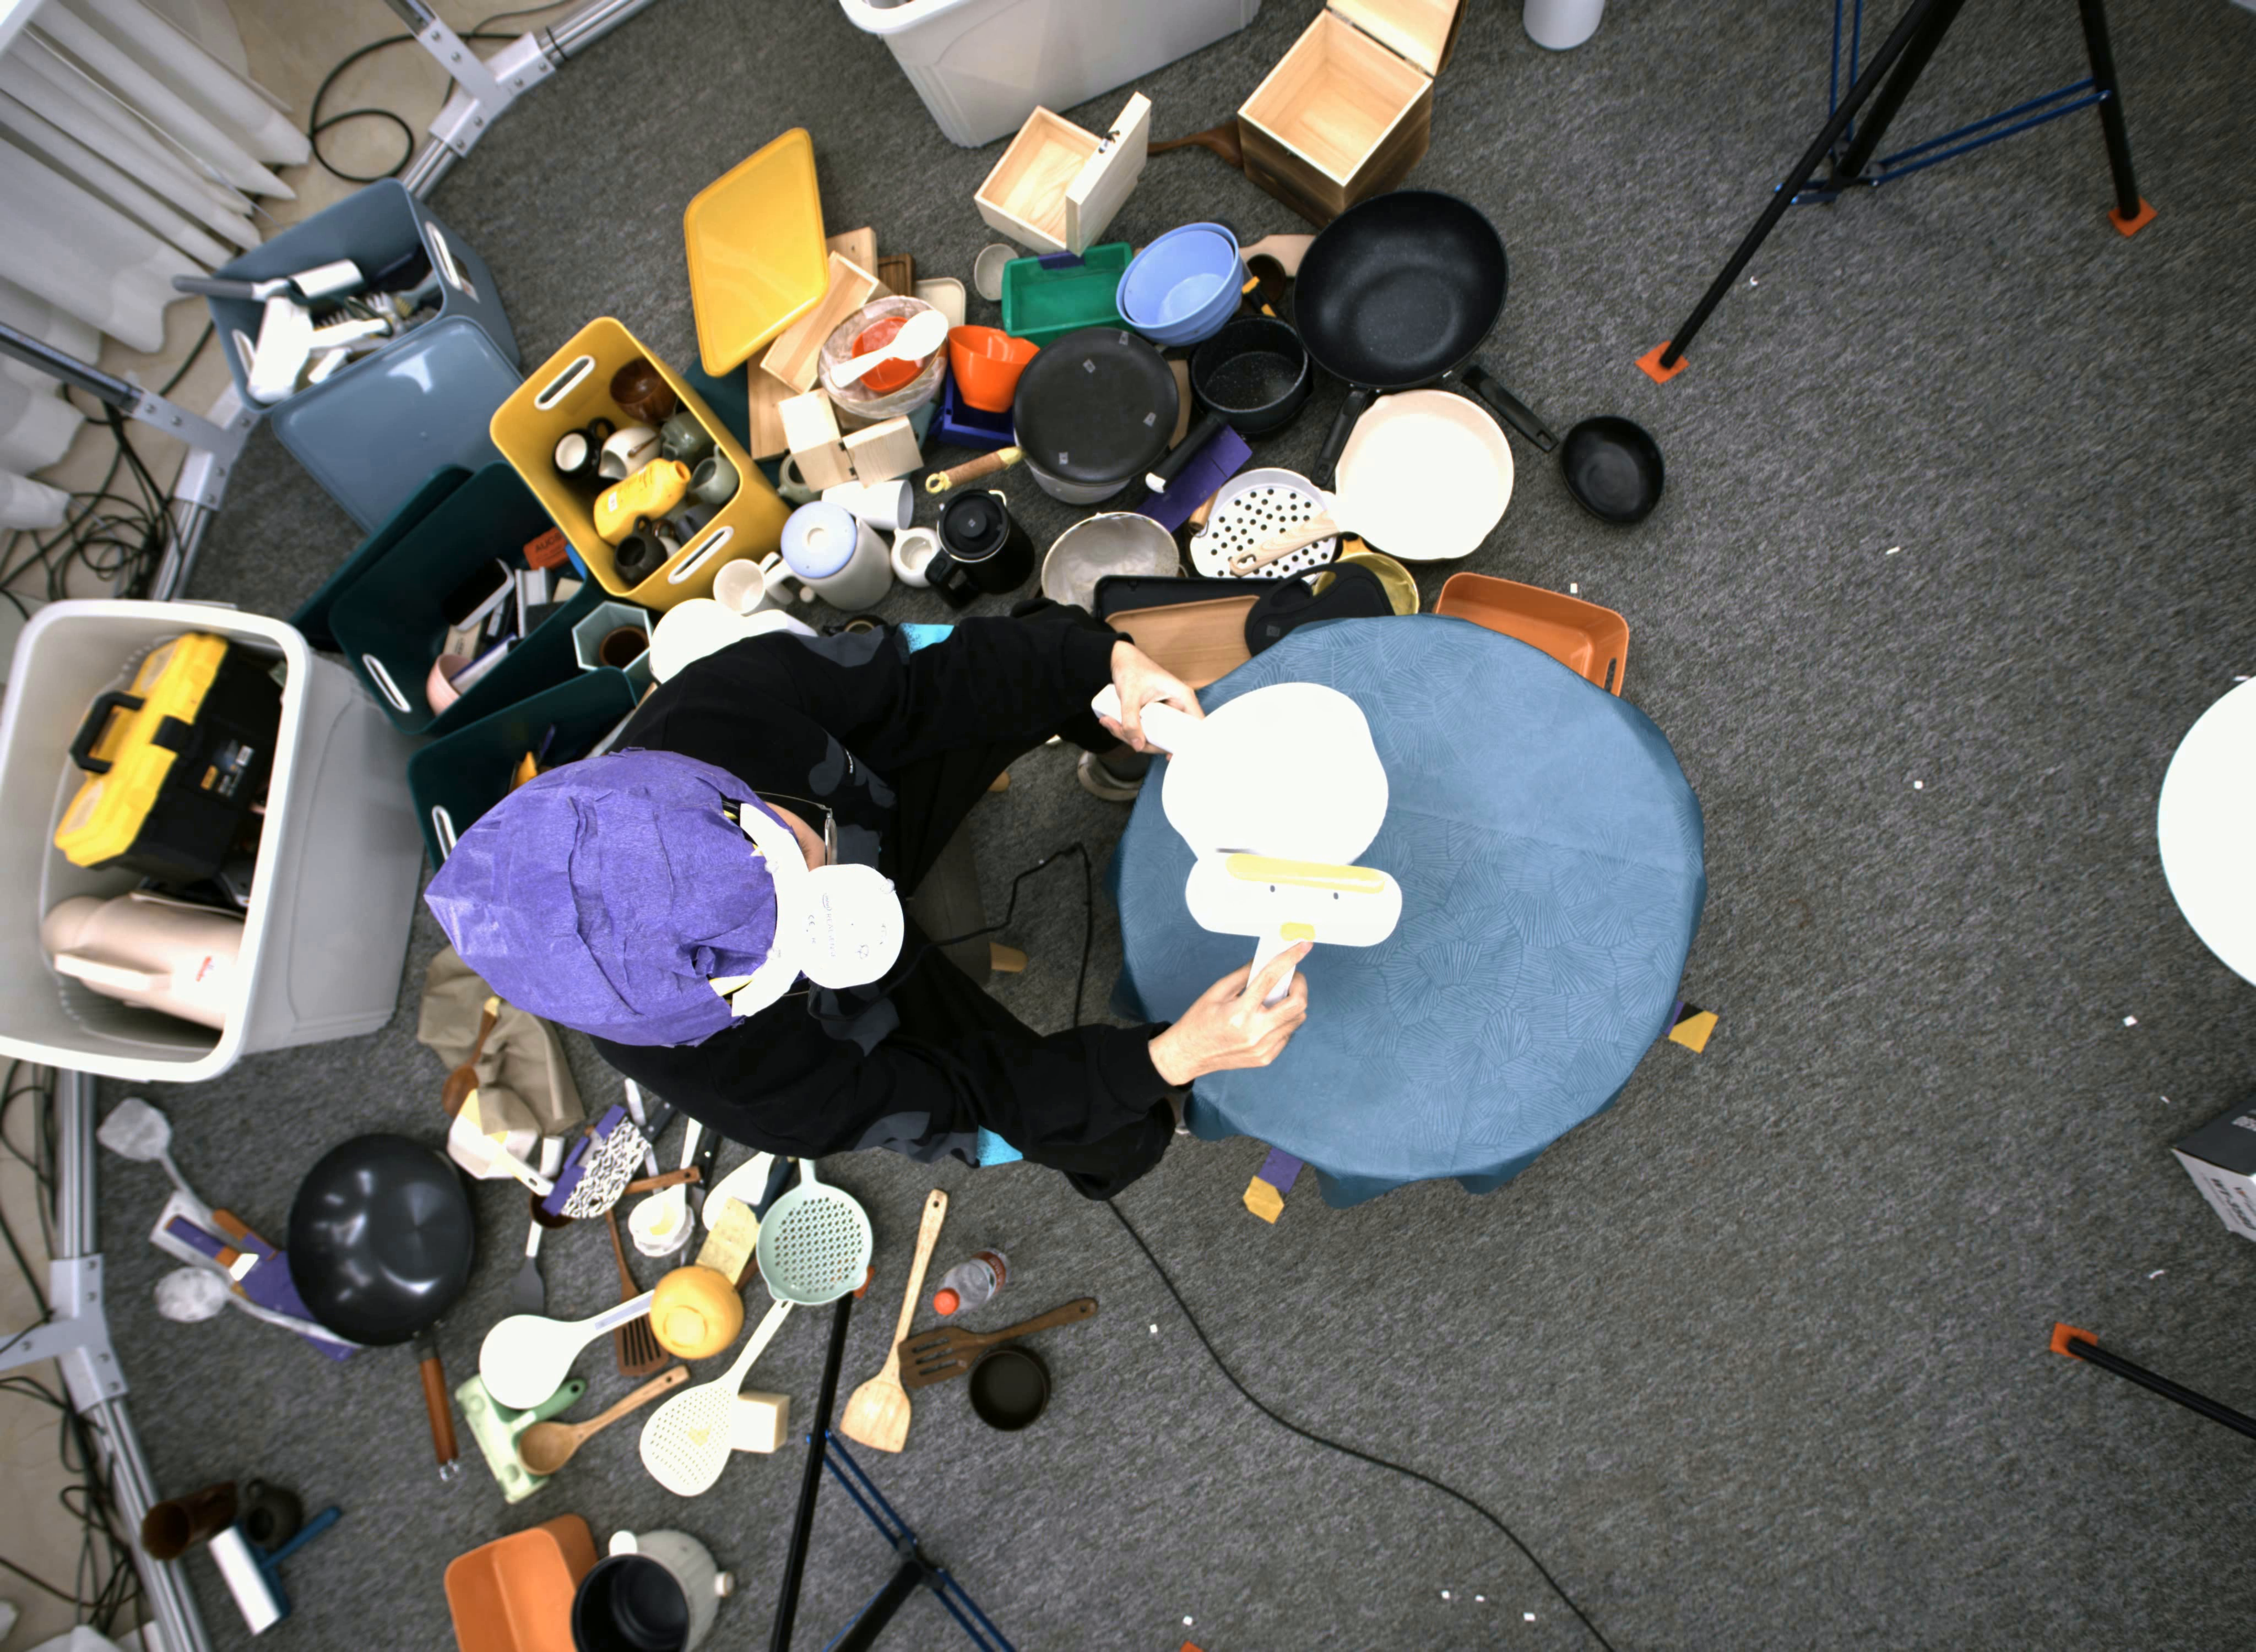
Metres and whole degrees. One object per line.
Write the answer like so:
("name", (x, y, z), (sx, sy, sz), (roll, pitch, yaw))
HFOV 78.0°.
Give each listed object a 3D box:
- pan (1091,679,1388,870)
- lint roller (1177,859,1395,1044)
("pan", (0.095, -0.054, 1.343), (0.199, 0.104, 0.352), (-47, 42, -12))
("lint roller", (0.132, 0.113, 1.245), (0.192, 0.197, 0.072), (1, 43, -13))
